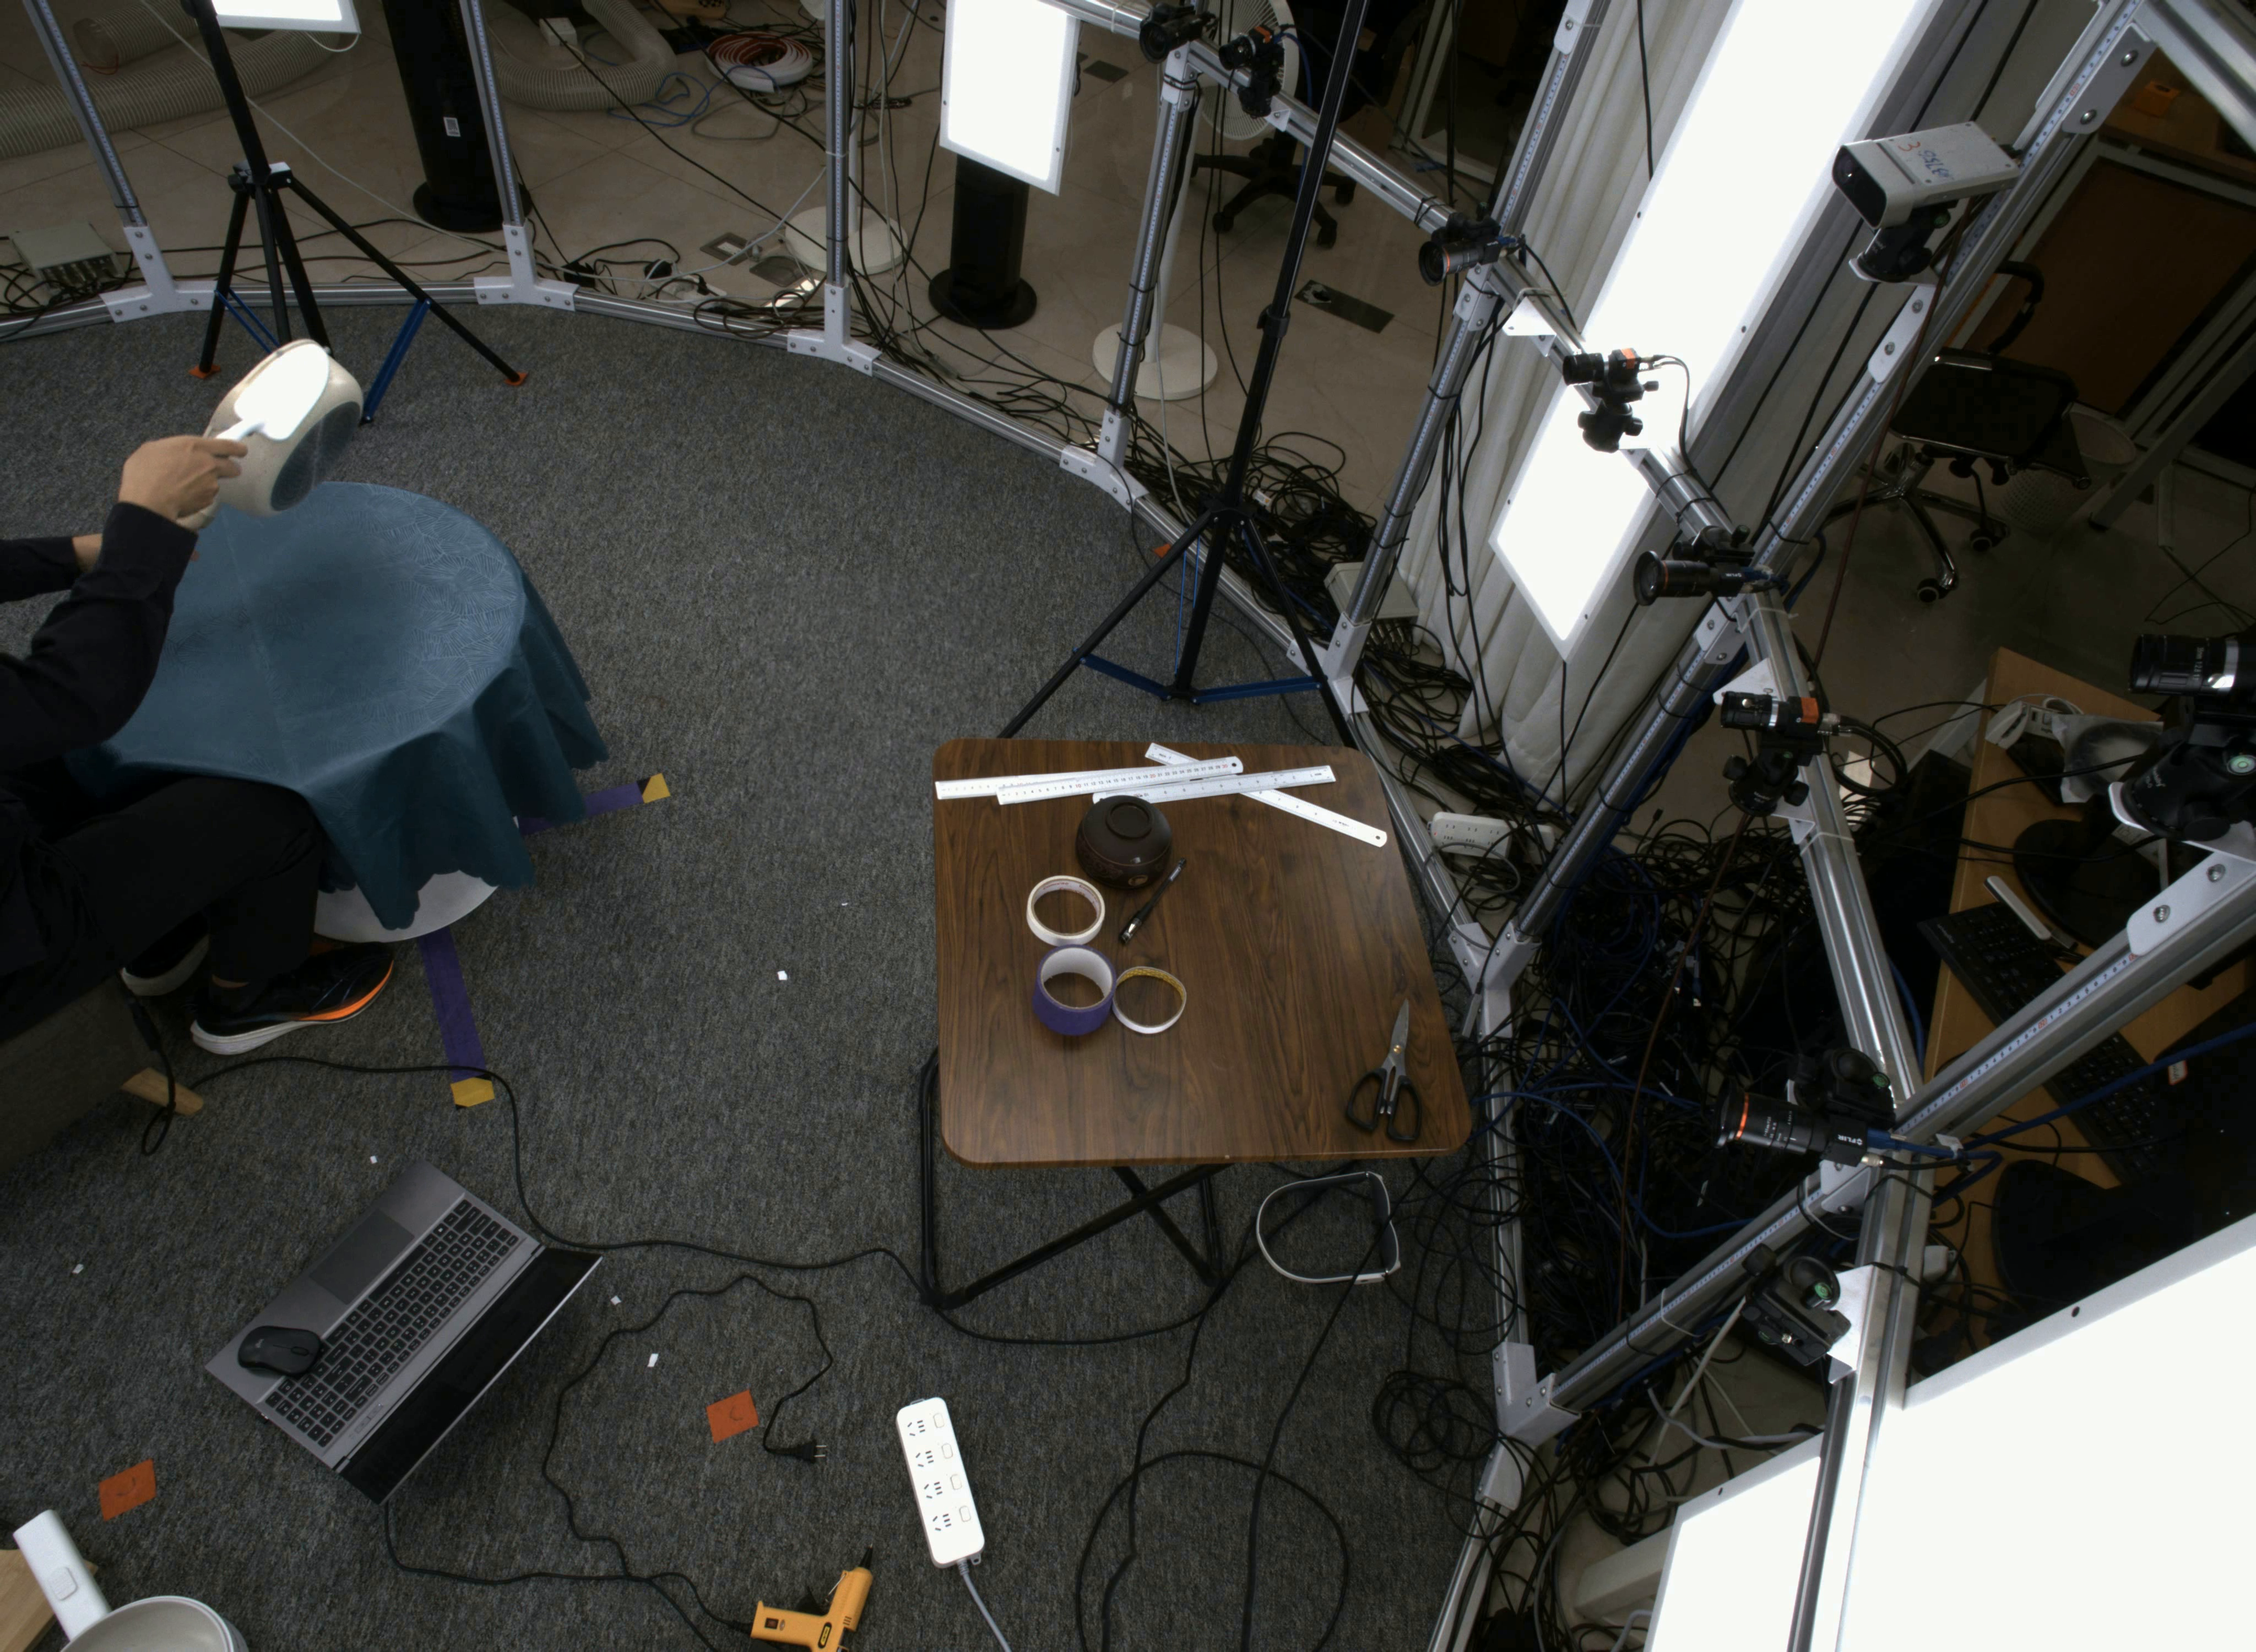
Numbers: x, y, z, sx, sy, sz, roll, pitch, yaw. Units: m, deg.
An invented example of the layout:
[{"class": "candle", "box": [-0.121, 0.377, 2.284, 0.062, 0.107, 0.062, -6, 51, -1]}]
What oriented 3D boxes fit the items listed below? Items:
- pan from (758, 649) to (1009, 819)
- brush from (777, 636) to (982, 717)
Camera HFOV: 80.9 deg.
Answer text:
[{"class": "pan", "box": [-0.376, -0.113, 2.041, 0.434, 0.270, 0.100, -35, 67, -7]}, {"class": "brush", "box": [-0.357, -0.199, 1.872, 0.327, 0.087, 0.080, -24, 28, -29]}]
